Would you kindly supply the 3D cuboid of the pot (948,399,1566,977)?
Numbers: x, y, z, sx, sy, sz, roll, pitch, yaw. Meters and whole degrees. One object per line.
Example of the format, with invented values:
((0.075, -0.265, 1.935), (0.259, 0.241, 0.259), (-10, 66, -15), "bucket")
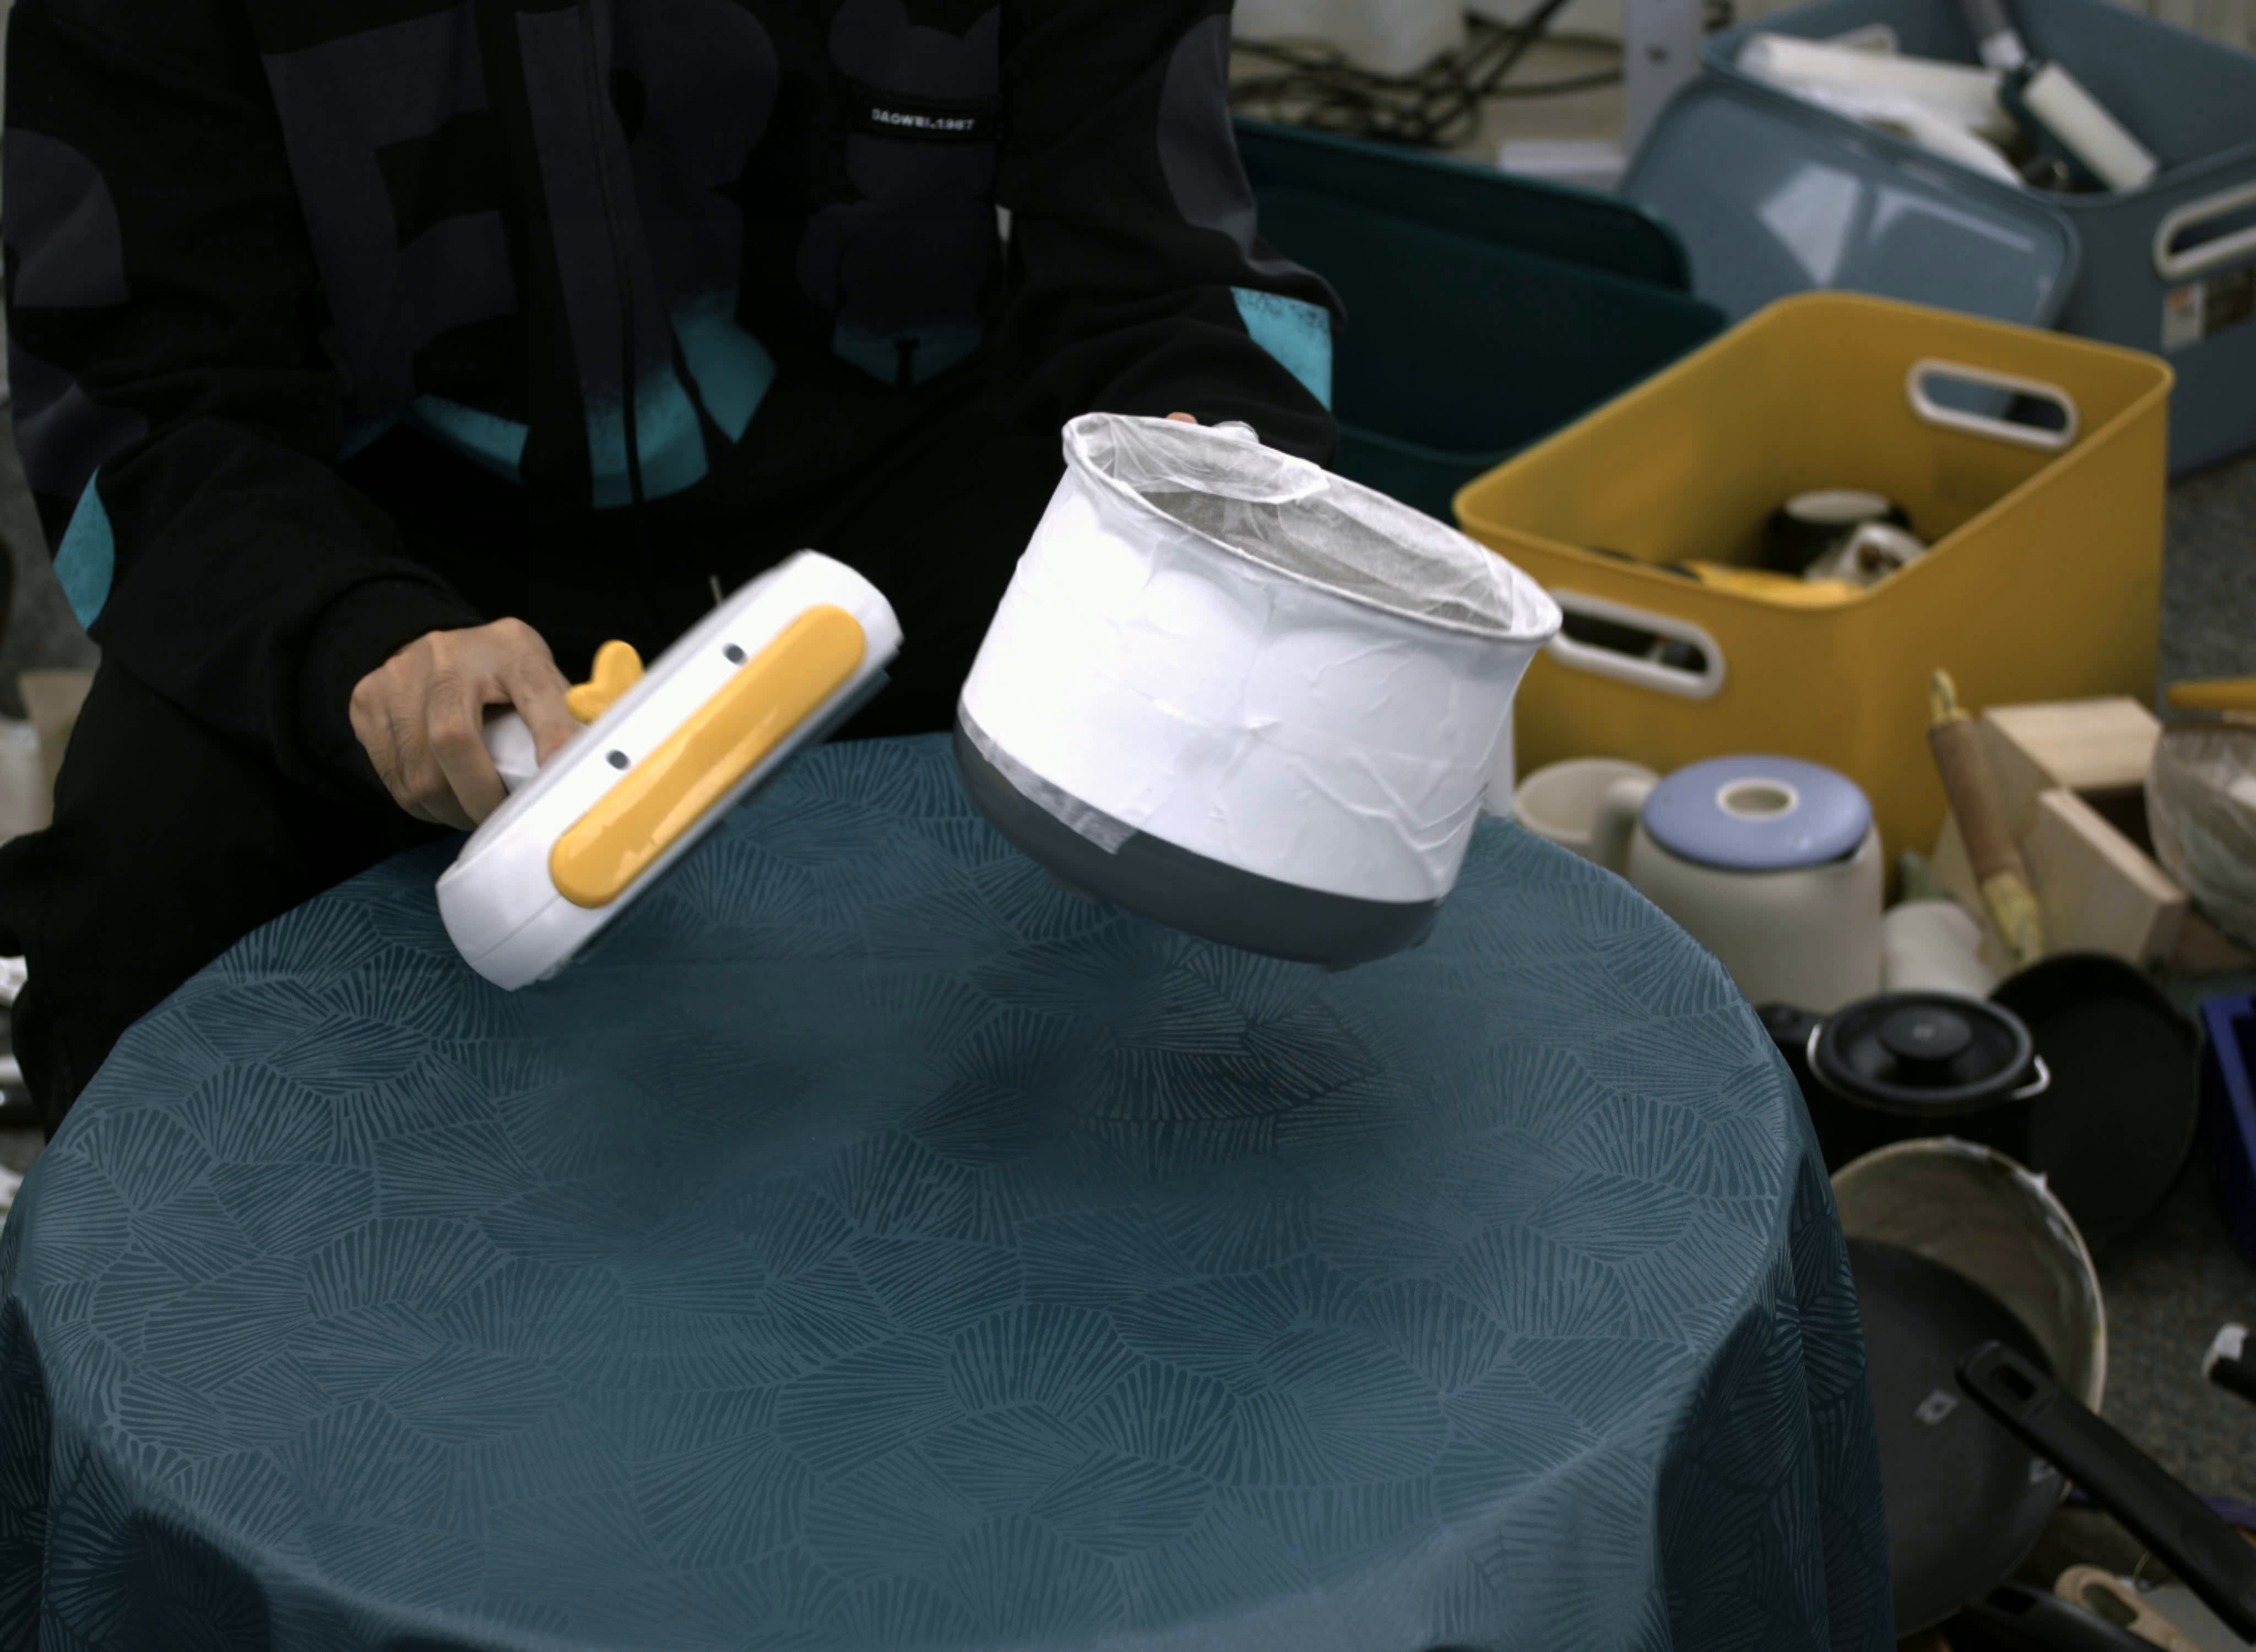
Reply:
((0.032, -0.055, 1.889), (0.178, 0.136, 0.236), (20, 16, -21), "pot")

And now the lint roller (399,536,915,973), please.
((-0.185, -0.023, 1.937), (0.190, 0.074, 0.196), (-13, 31, 54), "lint roller")
